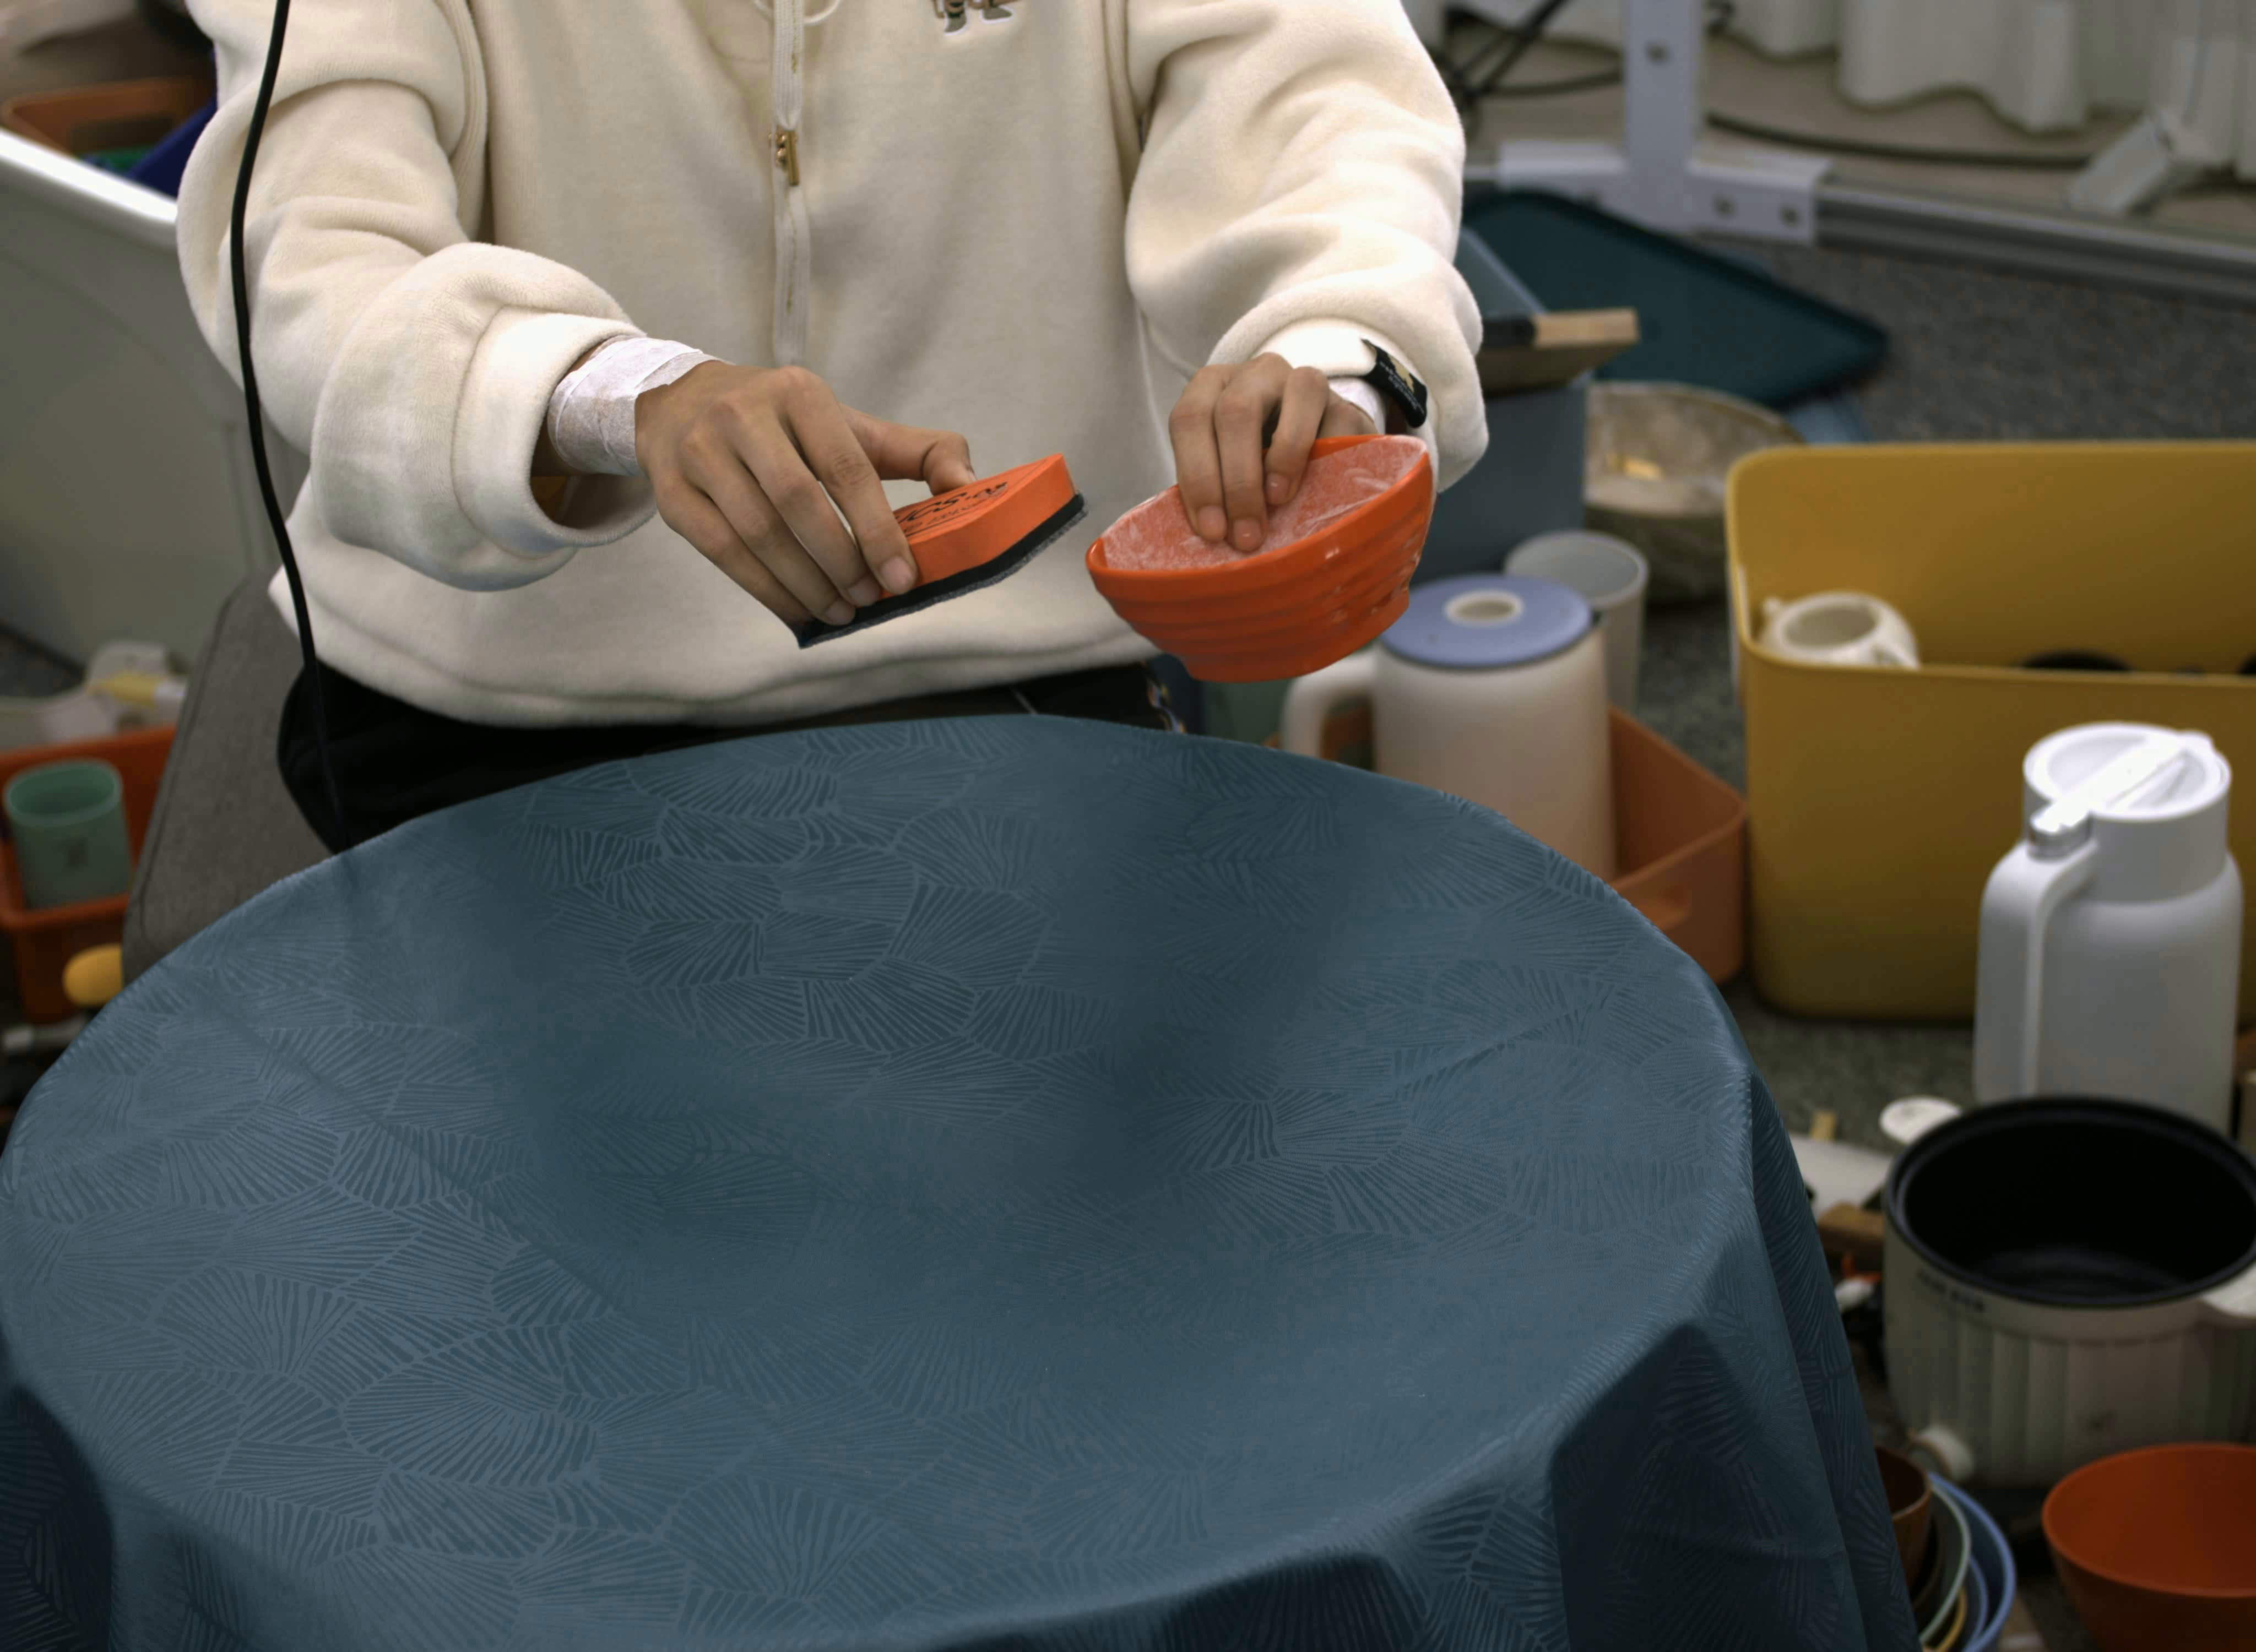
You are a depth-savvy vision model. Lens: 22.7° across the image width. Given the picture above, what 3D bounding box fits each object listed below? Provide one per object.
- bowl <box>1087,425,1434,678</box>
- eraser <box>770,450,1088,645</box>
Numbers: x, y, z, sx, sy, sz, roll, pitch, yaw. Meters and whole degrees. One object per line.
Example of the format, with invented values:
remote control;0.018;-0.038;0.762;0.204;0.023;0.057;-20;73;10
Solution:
bowl;0.050;-0.086;1.846;0.118;0.051;0.120;-18;18;6
eraser;-0.067;-0.092;1.878;0.106;0.023;0.060;-16;19;42
